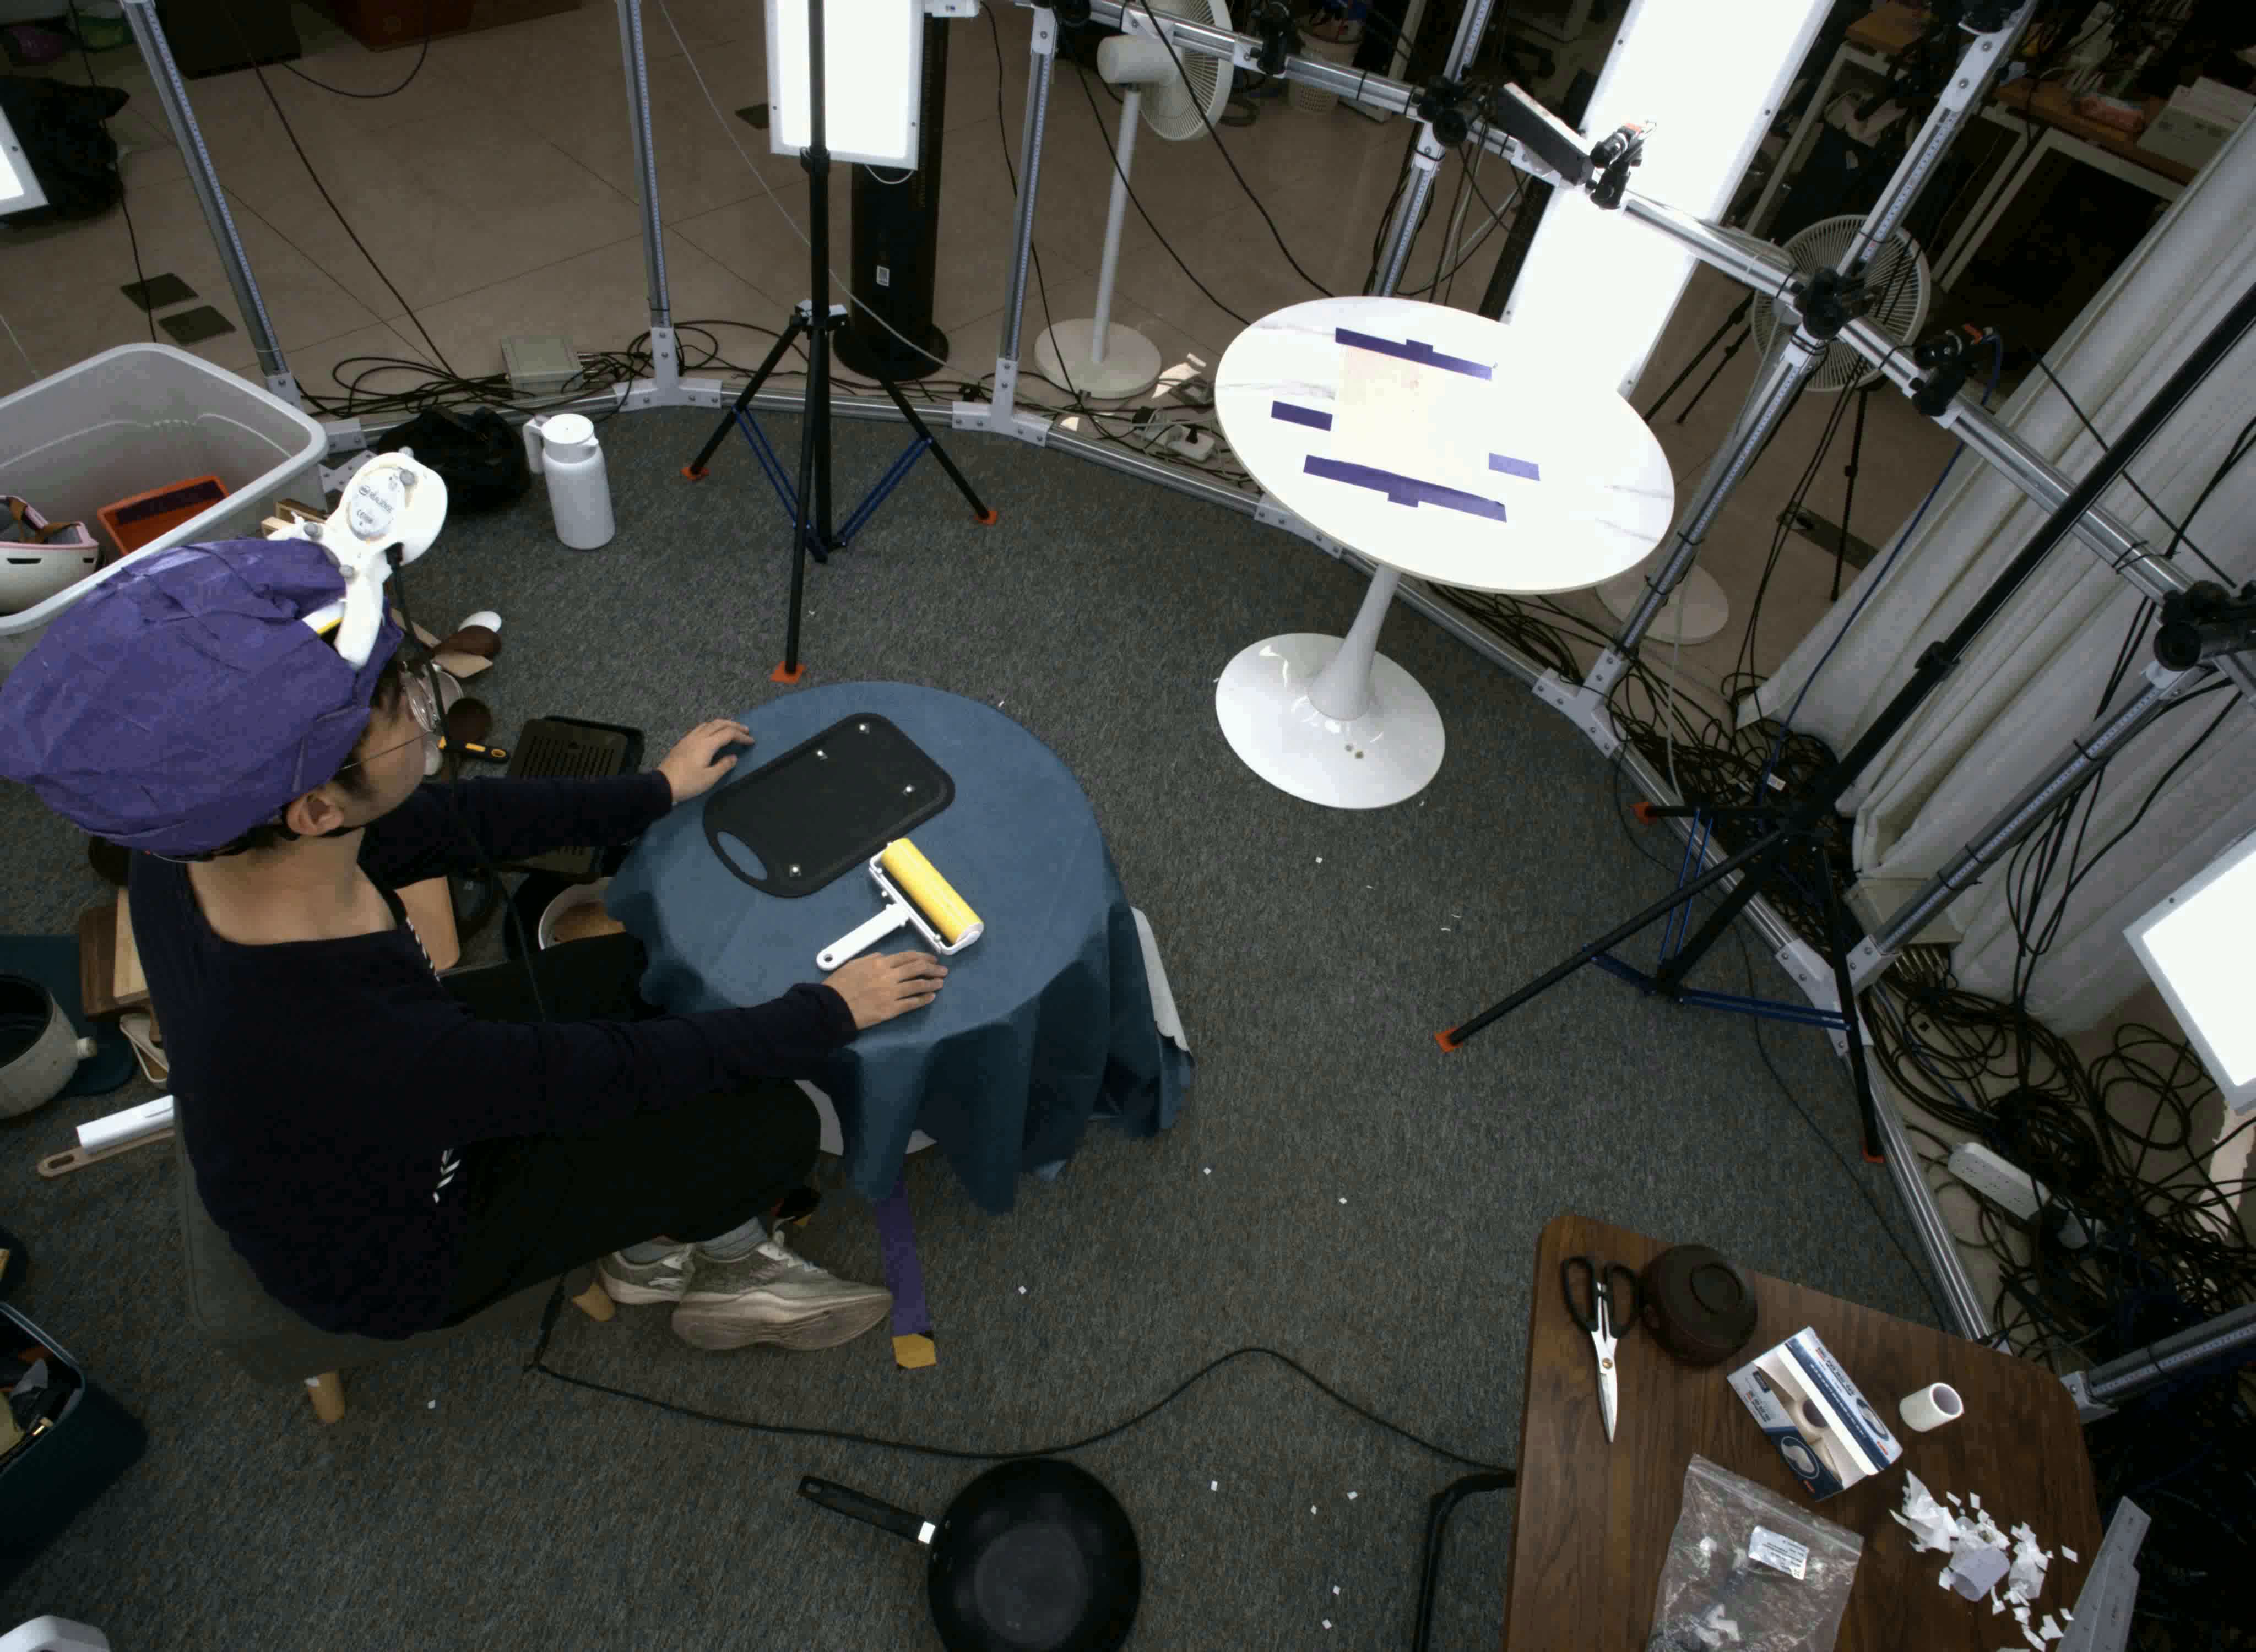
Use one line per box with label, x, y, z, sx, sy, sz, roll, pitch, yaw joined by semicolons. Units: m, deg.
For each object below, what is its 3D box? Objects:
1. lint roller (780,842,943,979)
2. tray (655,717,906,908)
lint roller;-0.356;0.122;1.630;0.170;0.052;0.192;41;52;18
tray;-0.468;-0.022;1.736;0.206;0.010;0.326;40;55;16
